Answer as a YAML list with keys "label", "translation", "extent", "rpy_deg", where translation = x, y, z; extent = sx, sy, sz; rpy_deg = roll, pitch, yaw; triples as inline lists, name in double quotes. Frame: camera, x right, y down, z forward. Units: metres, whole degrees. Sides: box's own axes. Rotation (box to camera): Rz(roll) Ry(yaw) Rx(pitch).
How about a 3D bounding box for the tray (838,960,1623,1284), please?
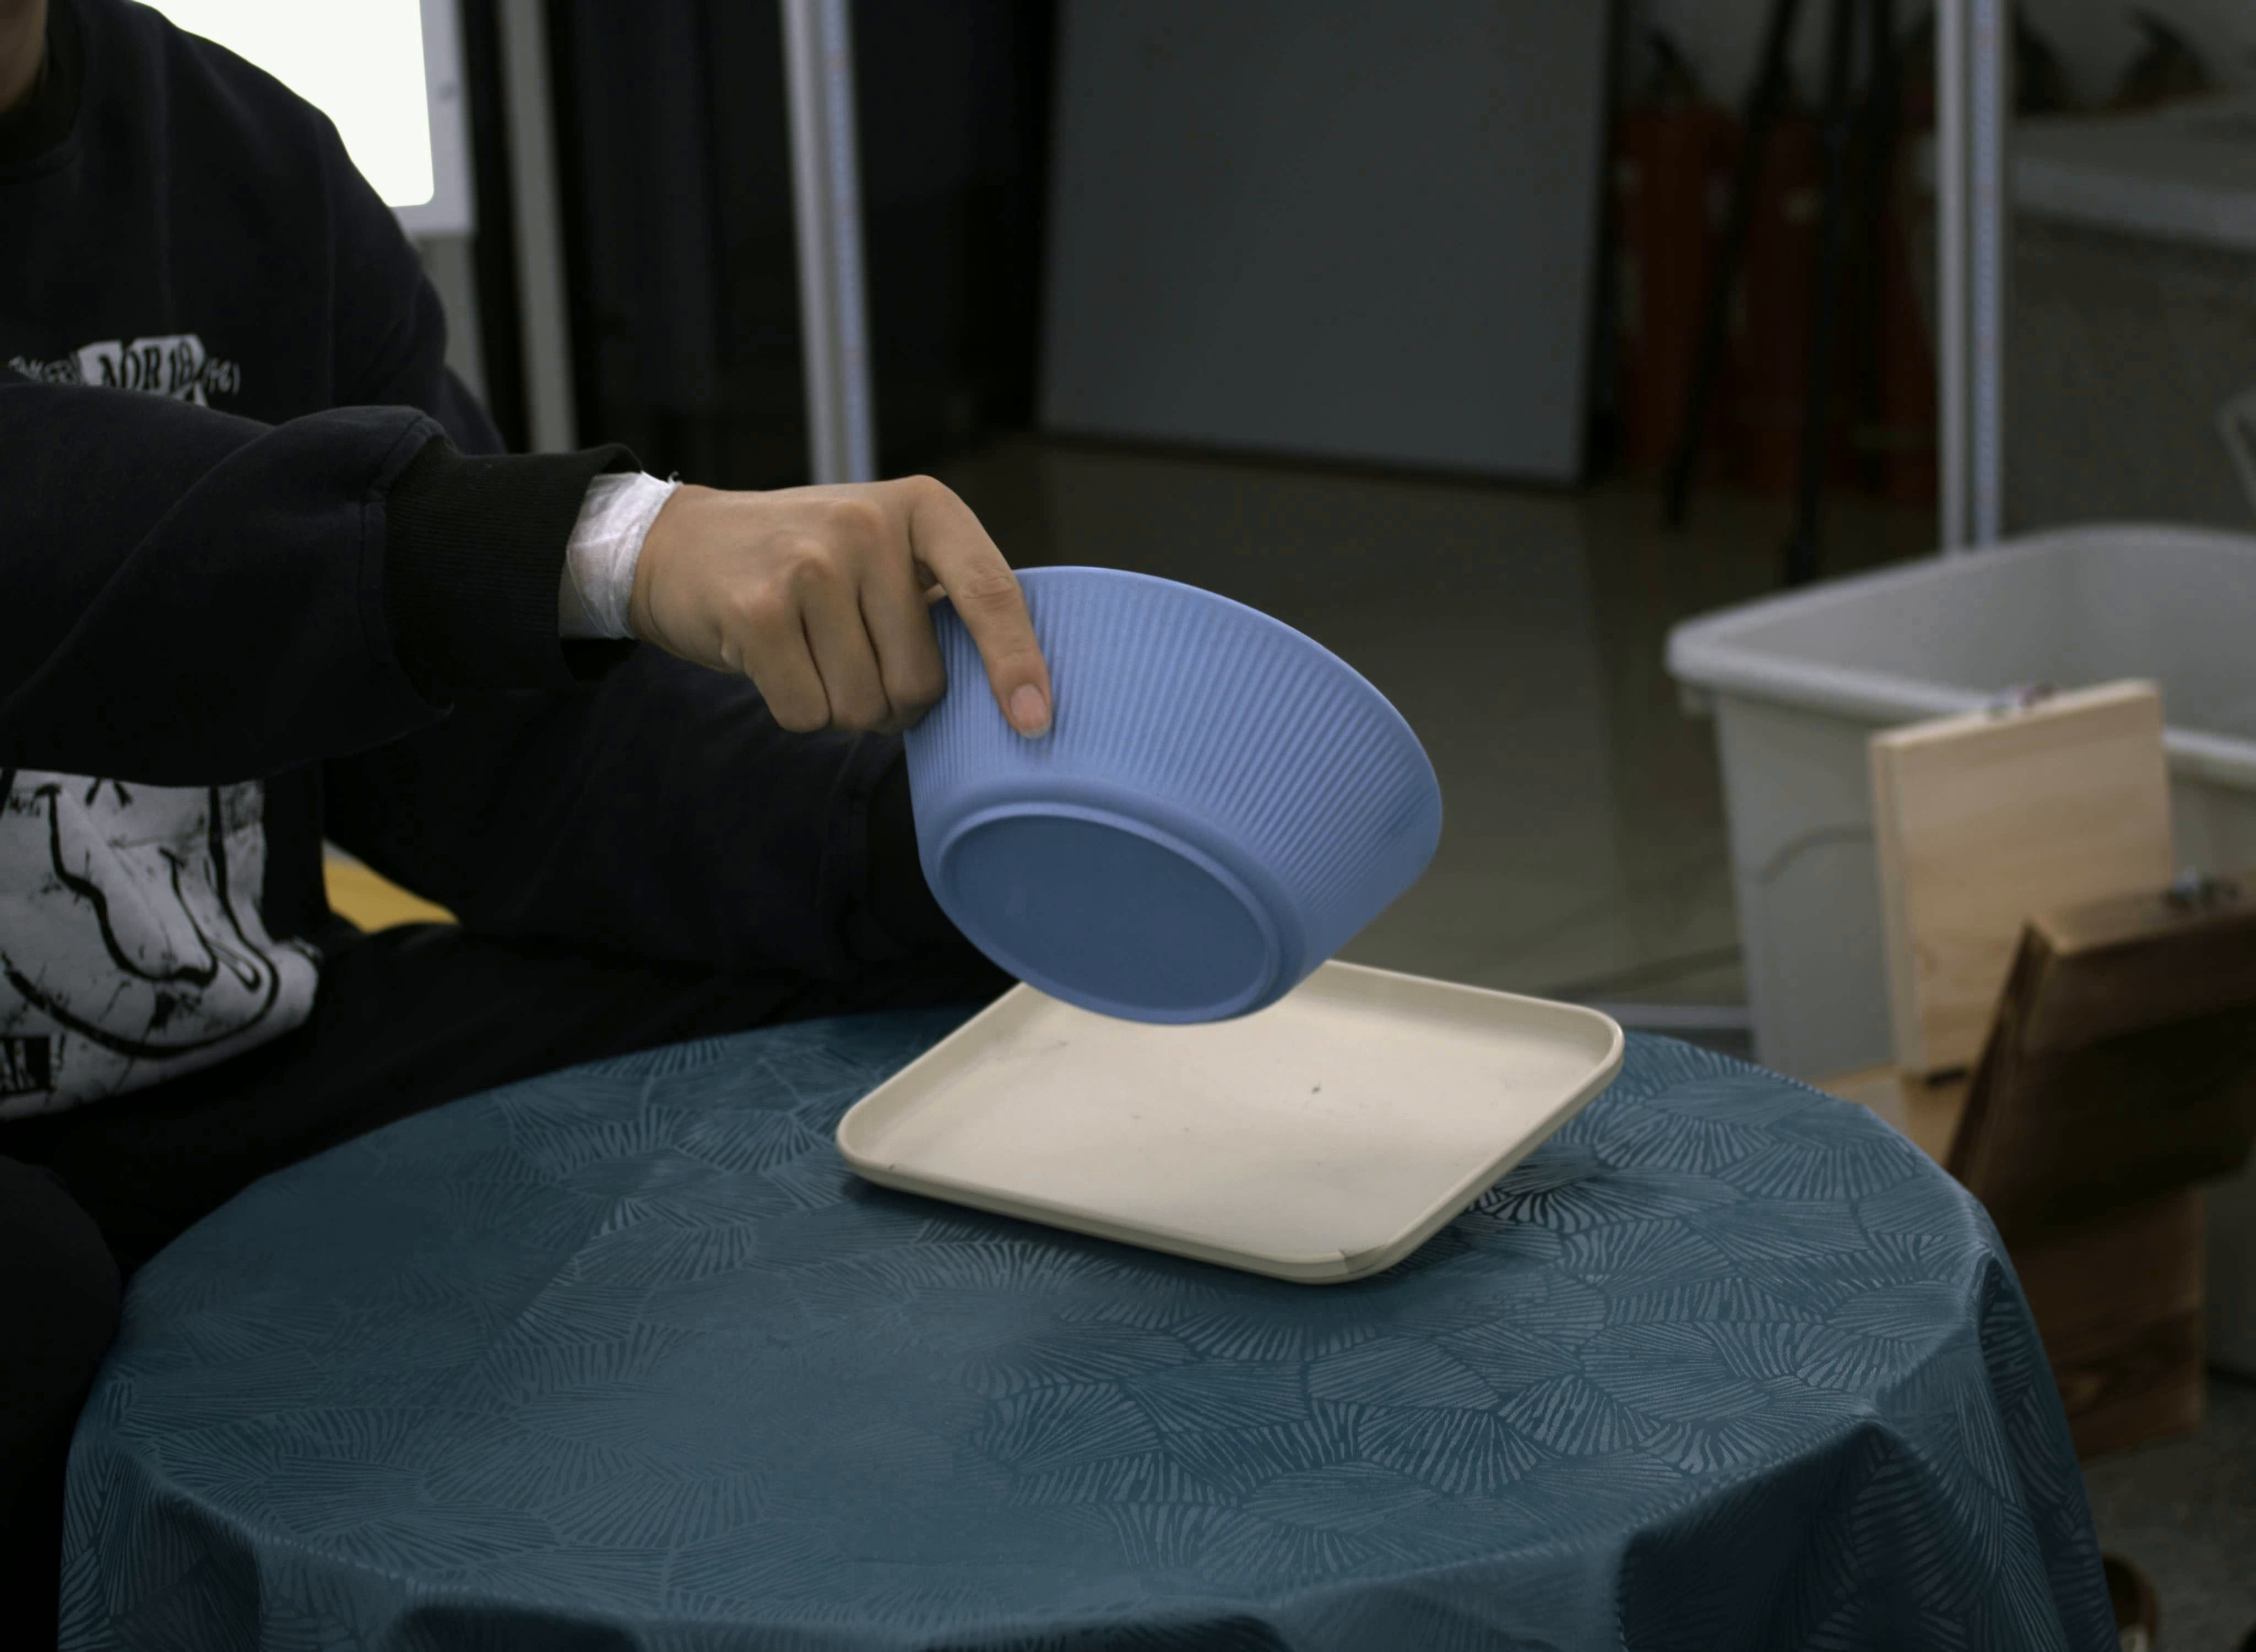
- label: "tray"
  translation: [0.034, 0.092, 1.774]
  extent: [0.241, 0.017, 0.169]
  rpy_deg: [9, 32, 41]

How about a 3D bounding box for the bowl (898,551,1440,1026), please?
- label: "bowl"
  translation: [0.003, 0.000, 1.634]
  extent: [0.176, 0.175, 0.070]
  rpy_deg: [3, 51, 25]
